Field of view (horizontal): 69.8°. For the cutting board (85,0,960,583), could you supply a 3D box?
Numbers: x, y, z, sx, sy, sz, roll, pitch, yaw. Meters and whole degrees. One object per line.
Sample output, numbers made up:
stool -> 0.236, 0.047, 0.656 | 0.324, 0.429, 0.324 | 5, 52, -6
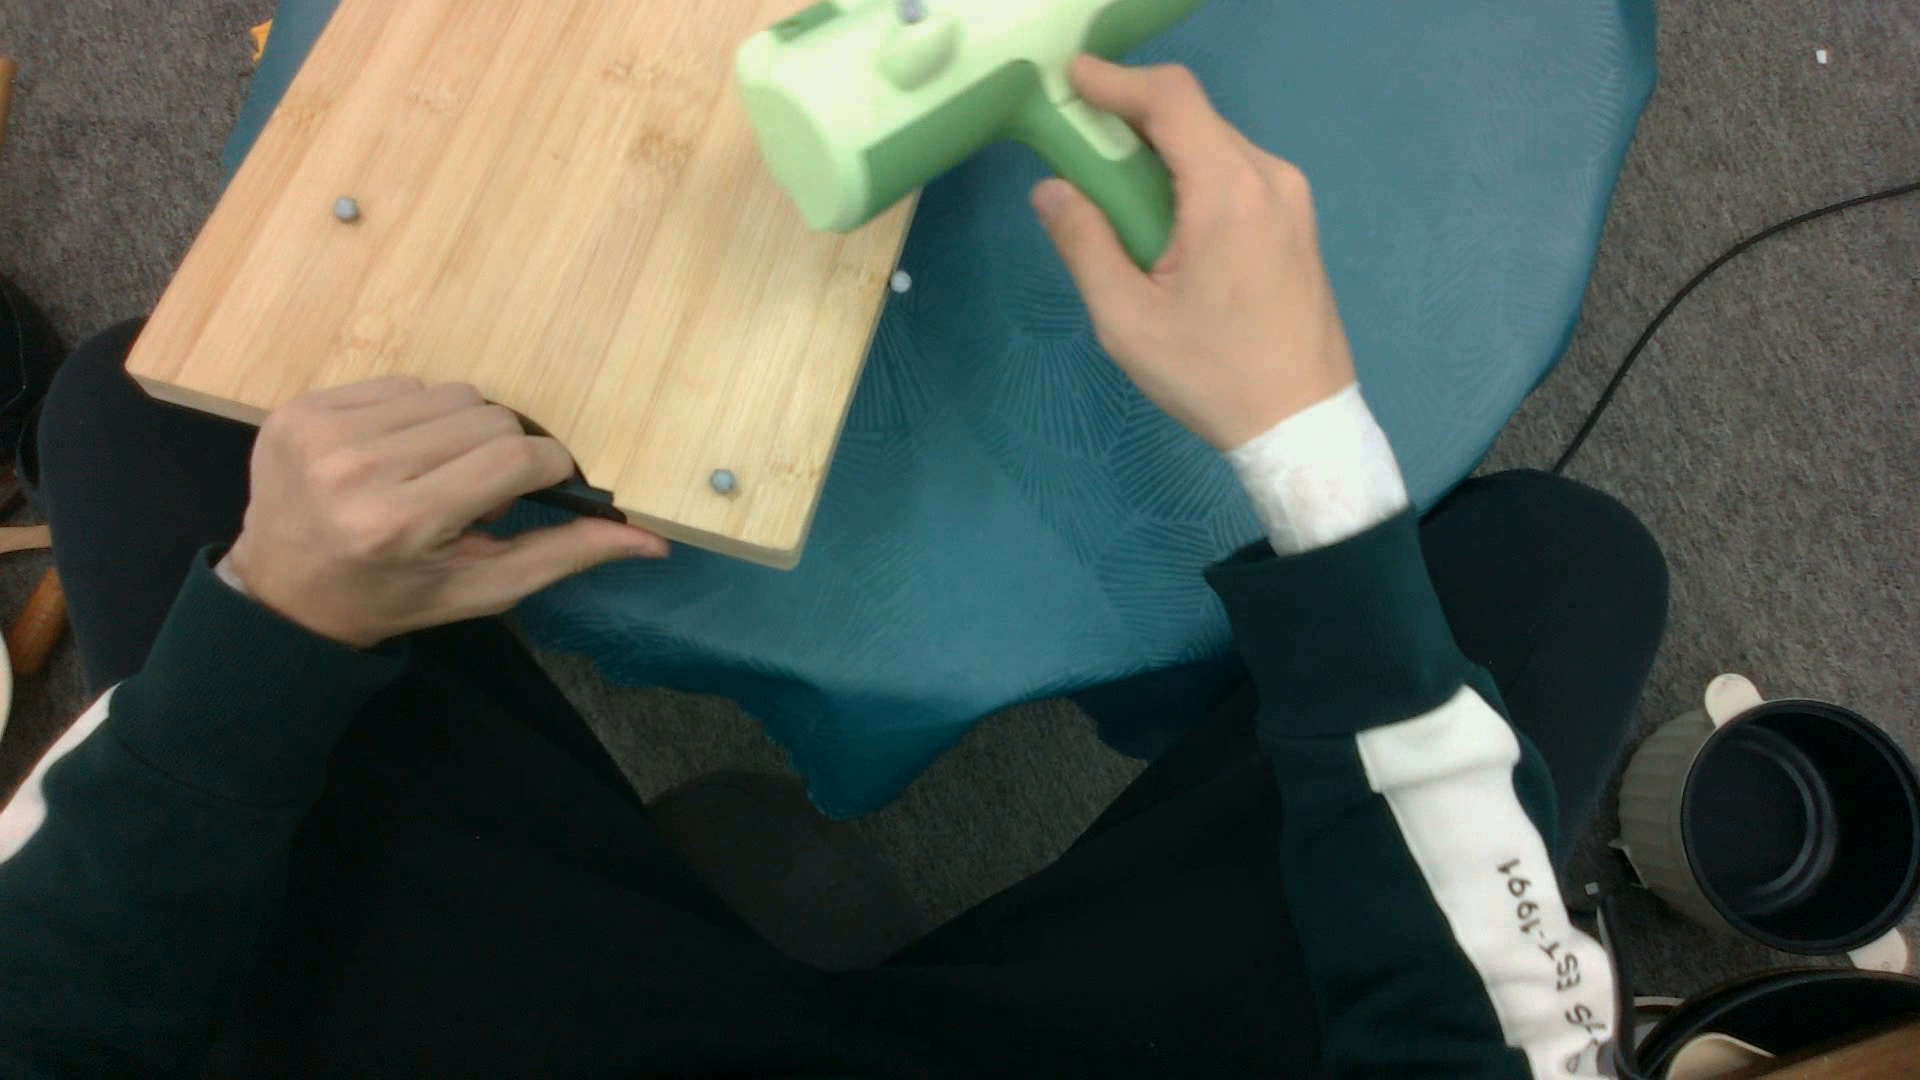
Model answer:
cutting board -> -0.143, -0.167, 0.549 | 0.251, 0.023, 0.350 | 13, 65, 0

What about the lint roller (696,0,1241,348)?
lint roller -> 0.040, -0.148, 0.476 | 0.183, 0.082, 0.199 | 44, 62, 8
